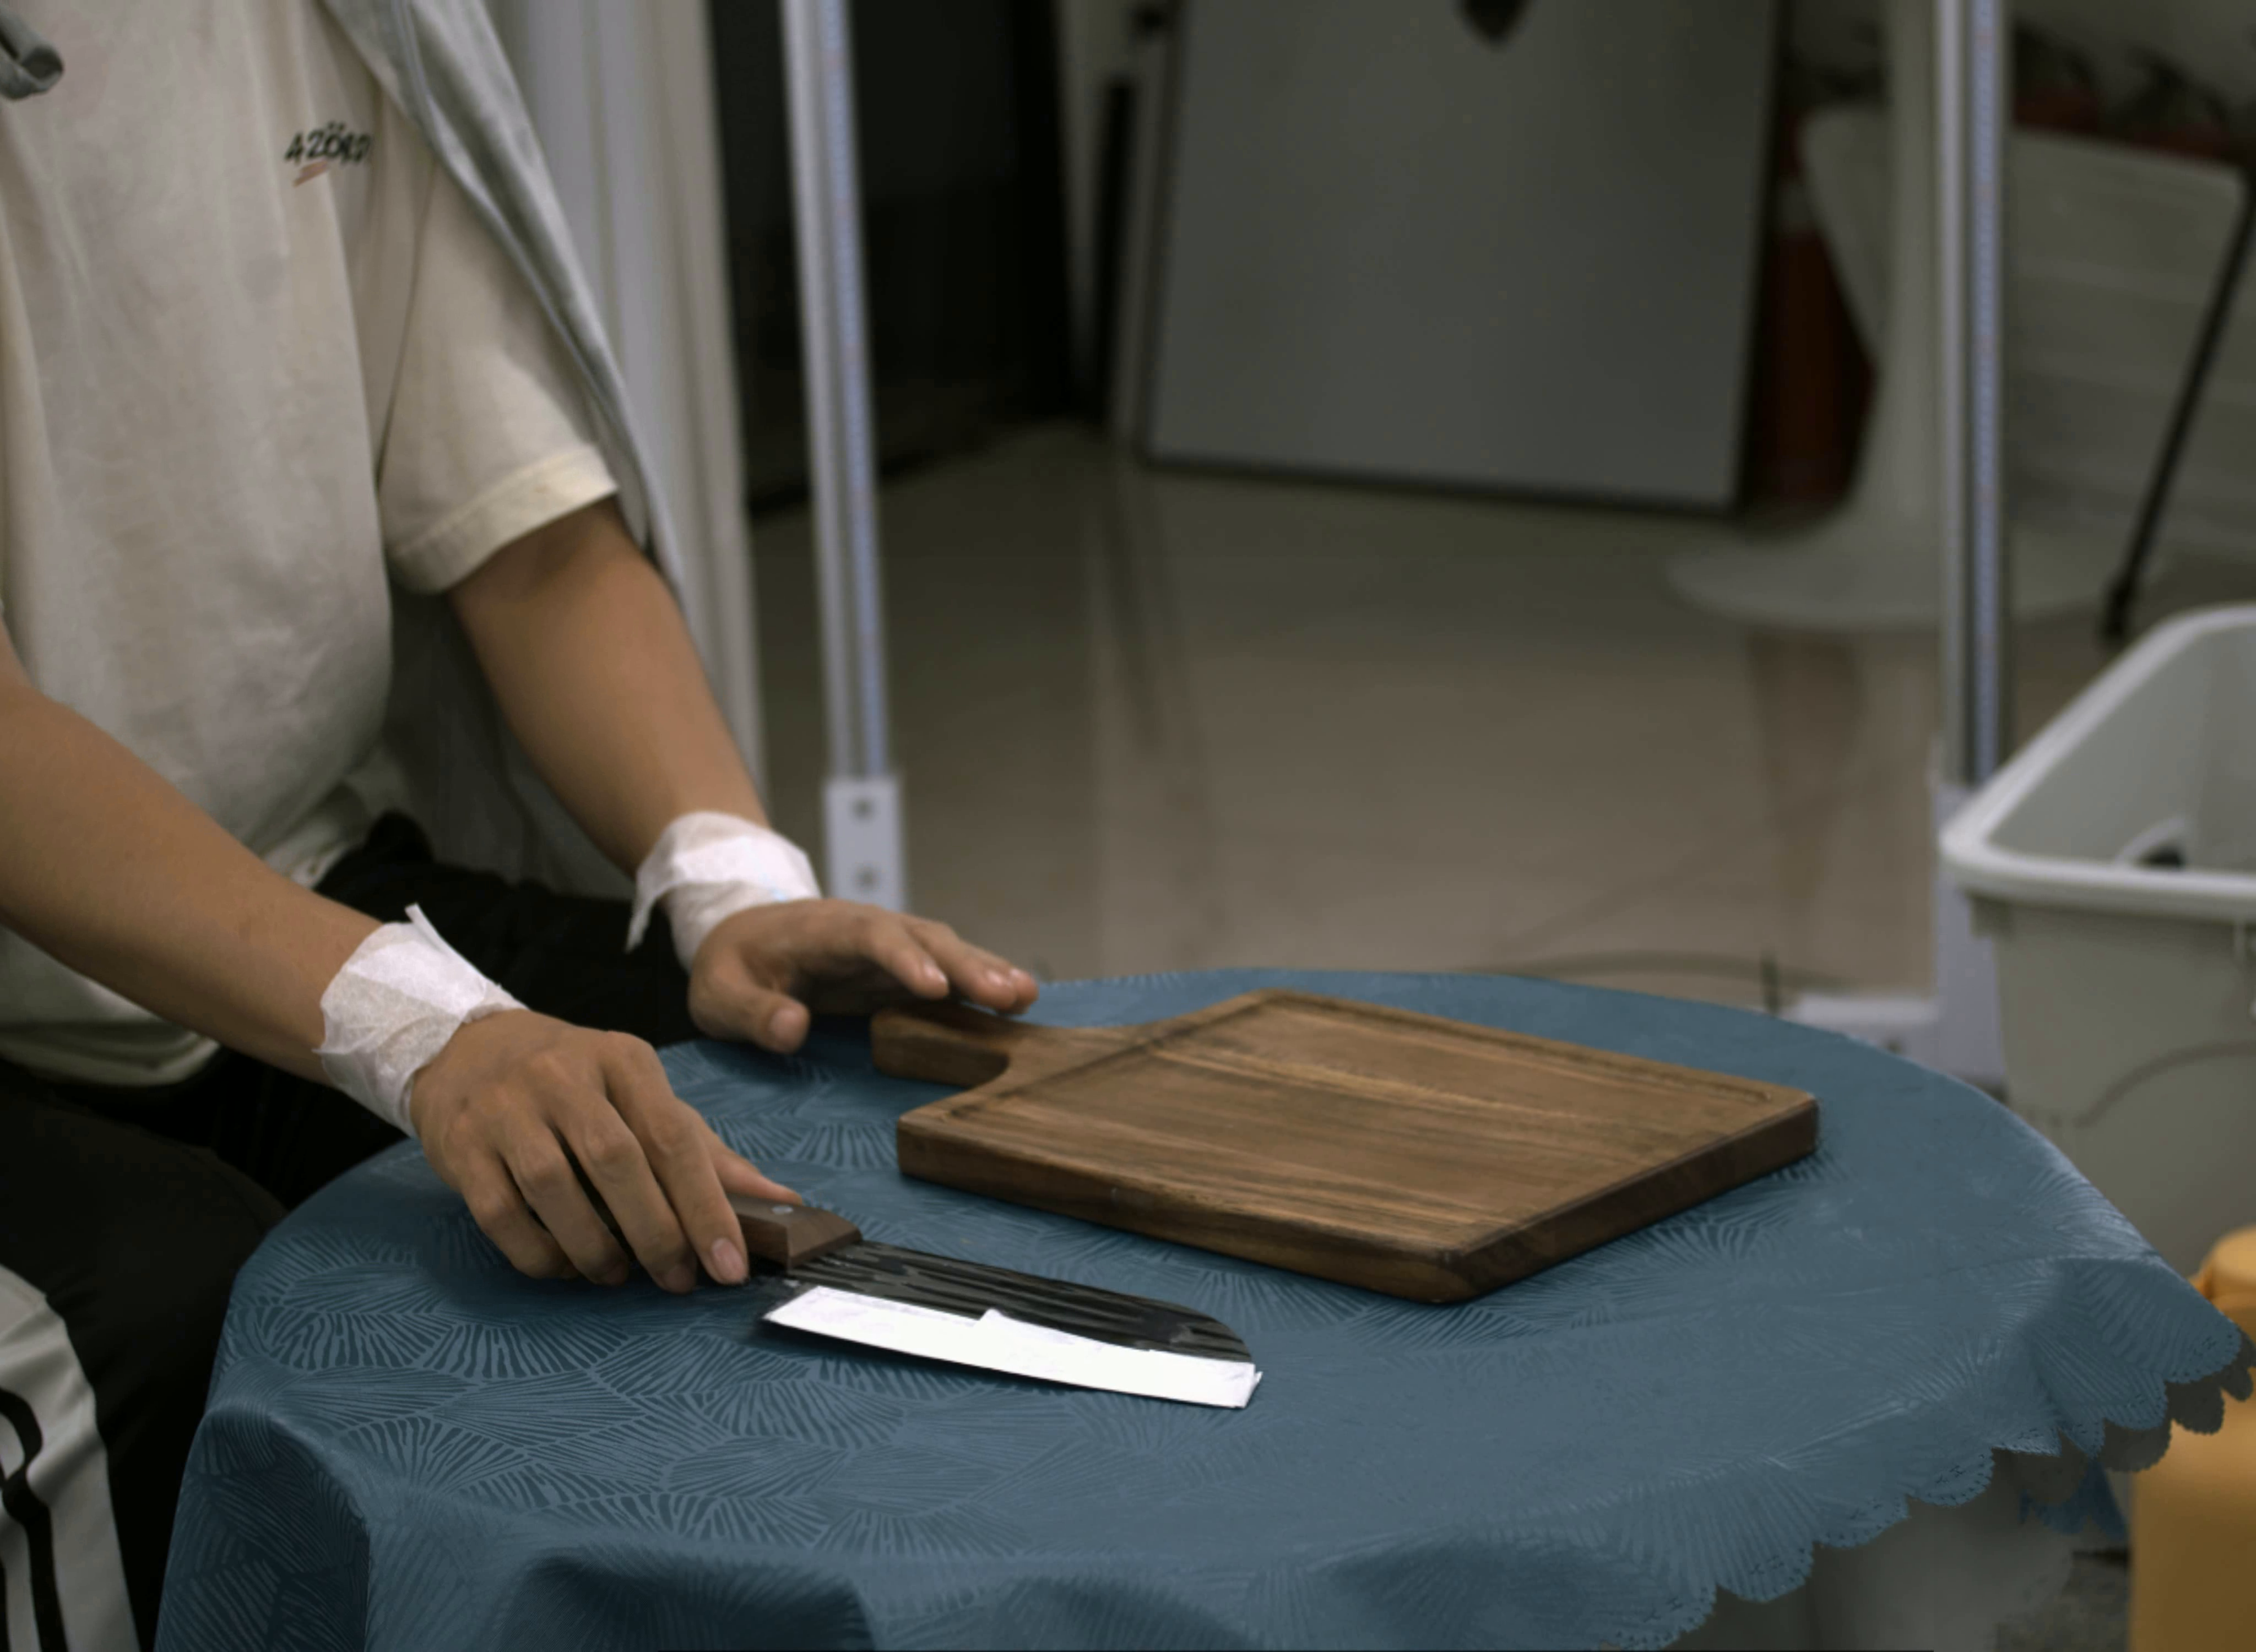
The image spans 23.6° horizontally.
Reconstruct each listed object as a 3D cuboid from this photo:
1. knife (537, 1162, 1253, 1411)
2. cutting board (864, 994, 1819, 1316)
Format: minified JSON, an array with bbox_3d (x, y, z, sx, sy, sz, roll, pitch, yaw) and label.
[{"bbox_3d":[-0.080,0.144,1.666,0.301,0.024,0.067,9,20,34],"label":"knife"},{"bbox_3d":[0.040,0.099,1.820,0.355,0.023,0.197,8,20,44],"label":"cutting board"}]
